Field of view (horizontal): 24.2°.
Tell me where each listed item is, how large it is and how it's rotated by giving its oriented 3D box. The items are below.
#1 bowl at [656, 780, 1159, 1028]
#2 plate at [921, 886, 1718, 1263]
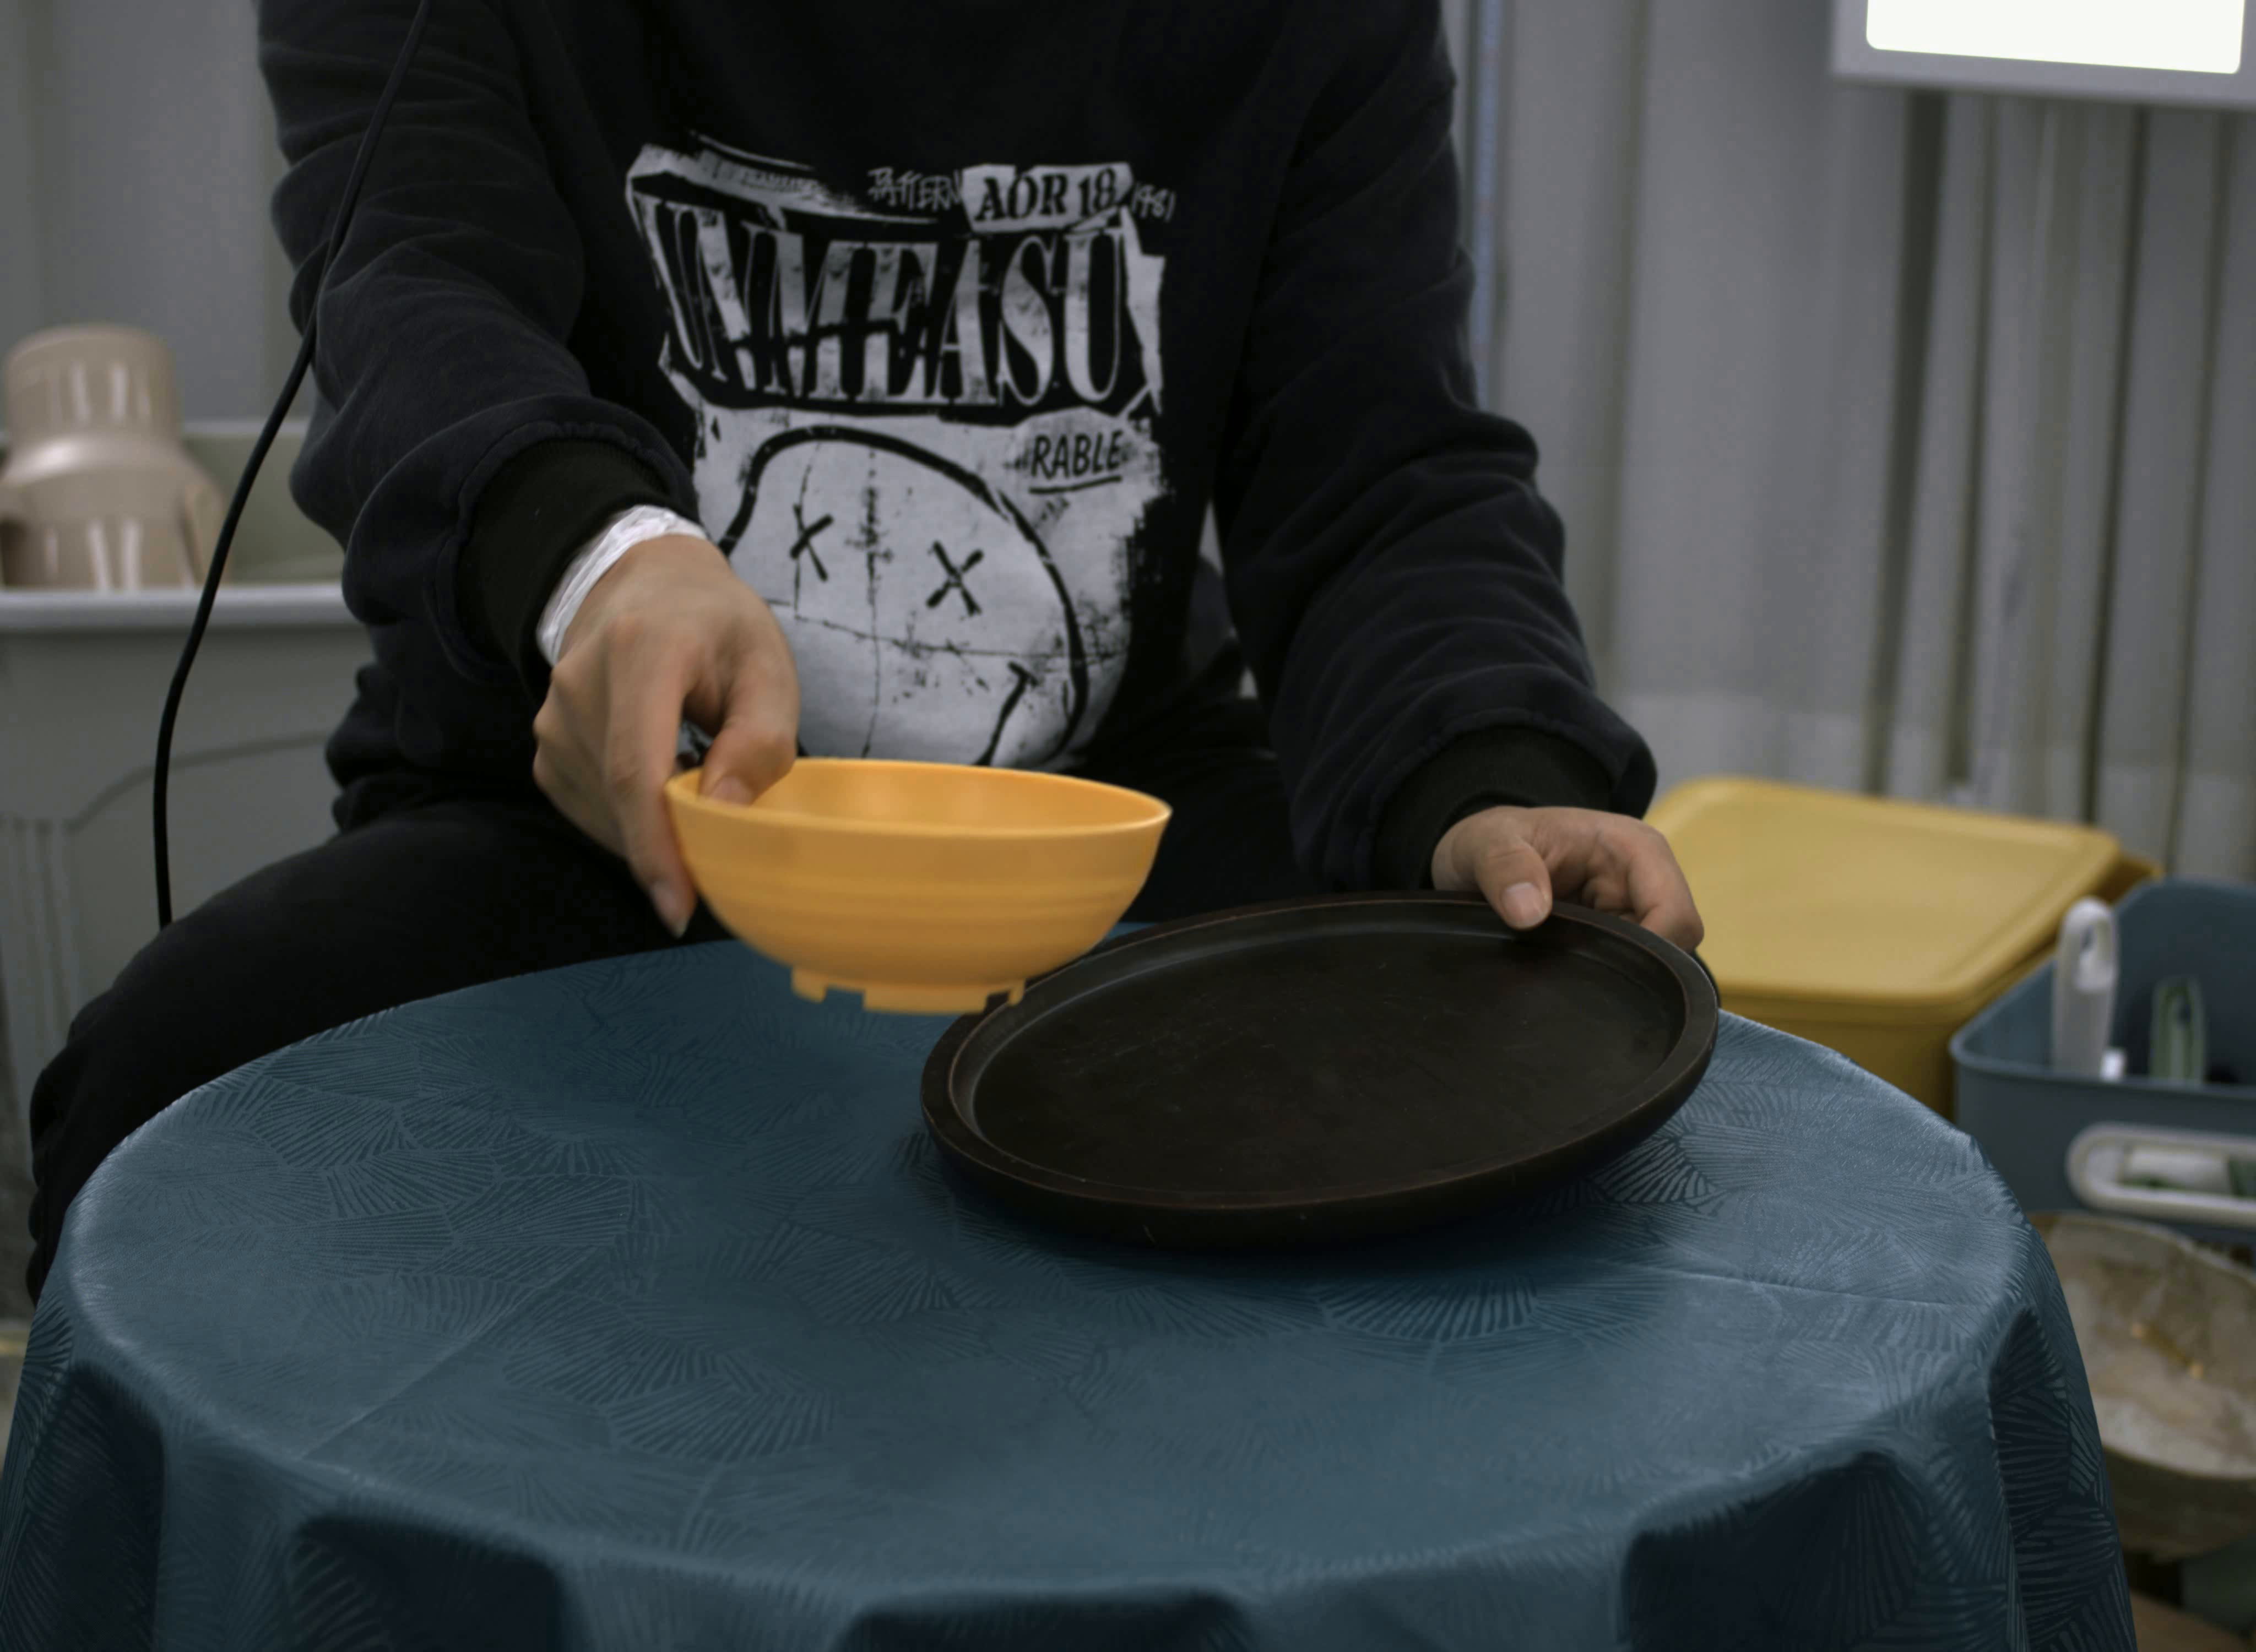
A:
[{"bbox_3d":[-0.064,0.024,1.503,0.145,0.060,0.145,3,6,0],"label":"bowl"},{"bbox_3d":[0.061,0.076,1.659,0.254,0.029,0.253,-7,20,3],"label":"plate"}]
